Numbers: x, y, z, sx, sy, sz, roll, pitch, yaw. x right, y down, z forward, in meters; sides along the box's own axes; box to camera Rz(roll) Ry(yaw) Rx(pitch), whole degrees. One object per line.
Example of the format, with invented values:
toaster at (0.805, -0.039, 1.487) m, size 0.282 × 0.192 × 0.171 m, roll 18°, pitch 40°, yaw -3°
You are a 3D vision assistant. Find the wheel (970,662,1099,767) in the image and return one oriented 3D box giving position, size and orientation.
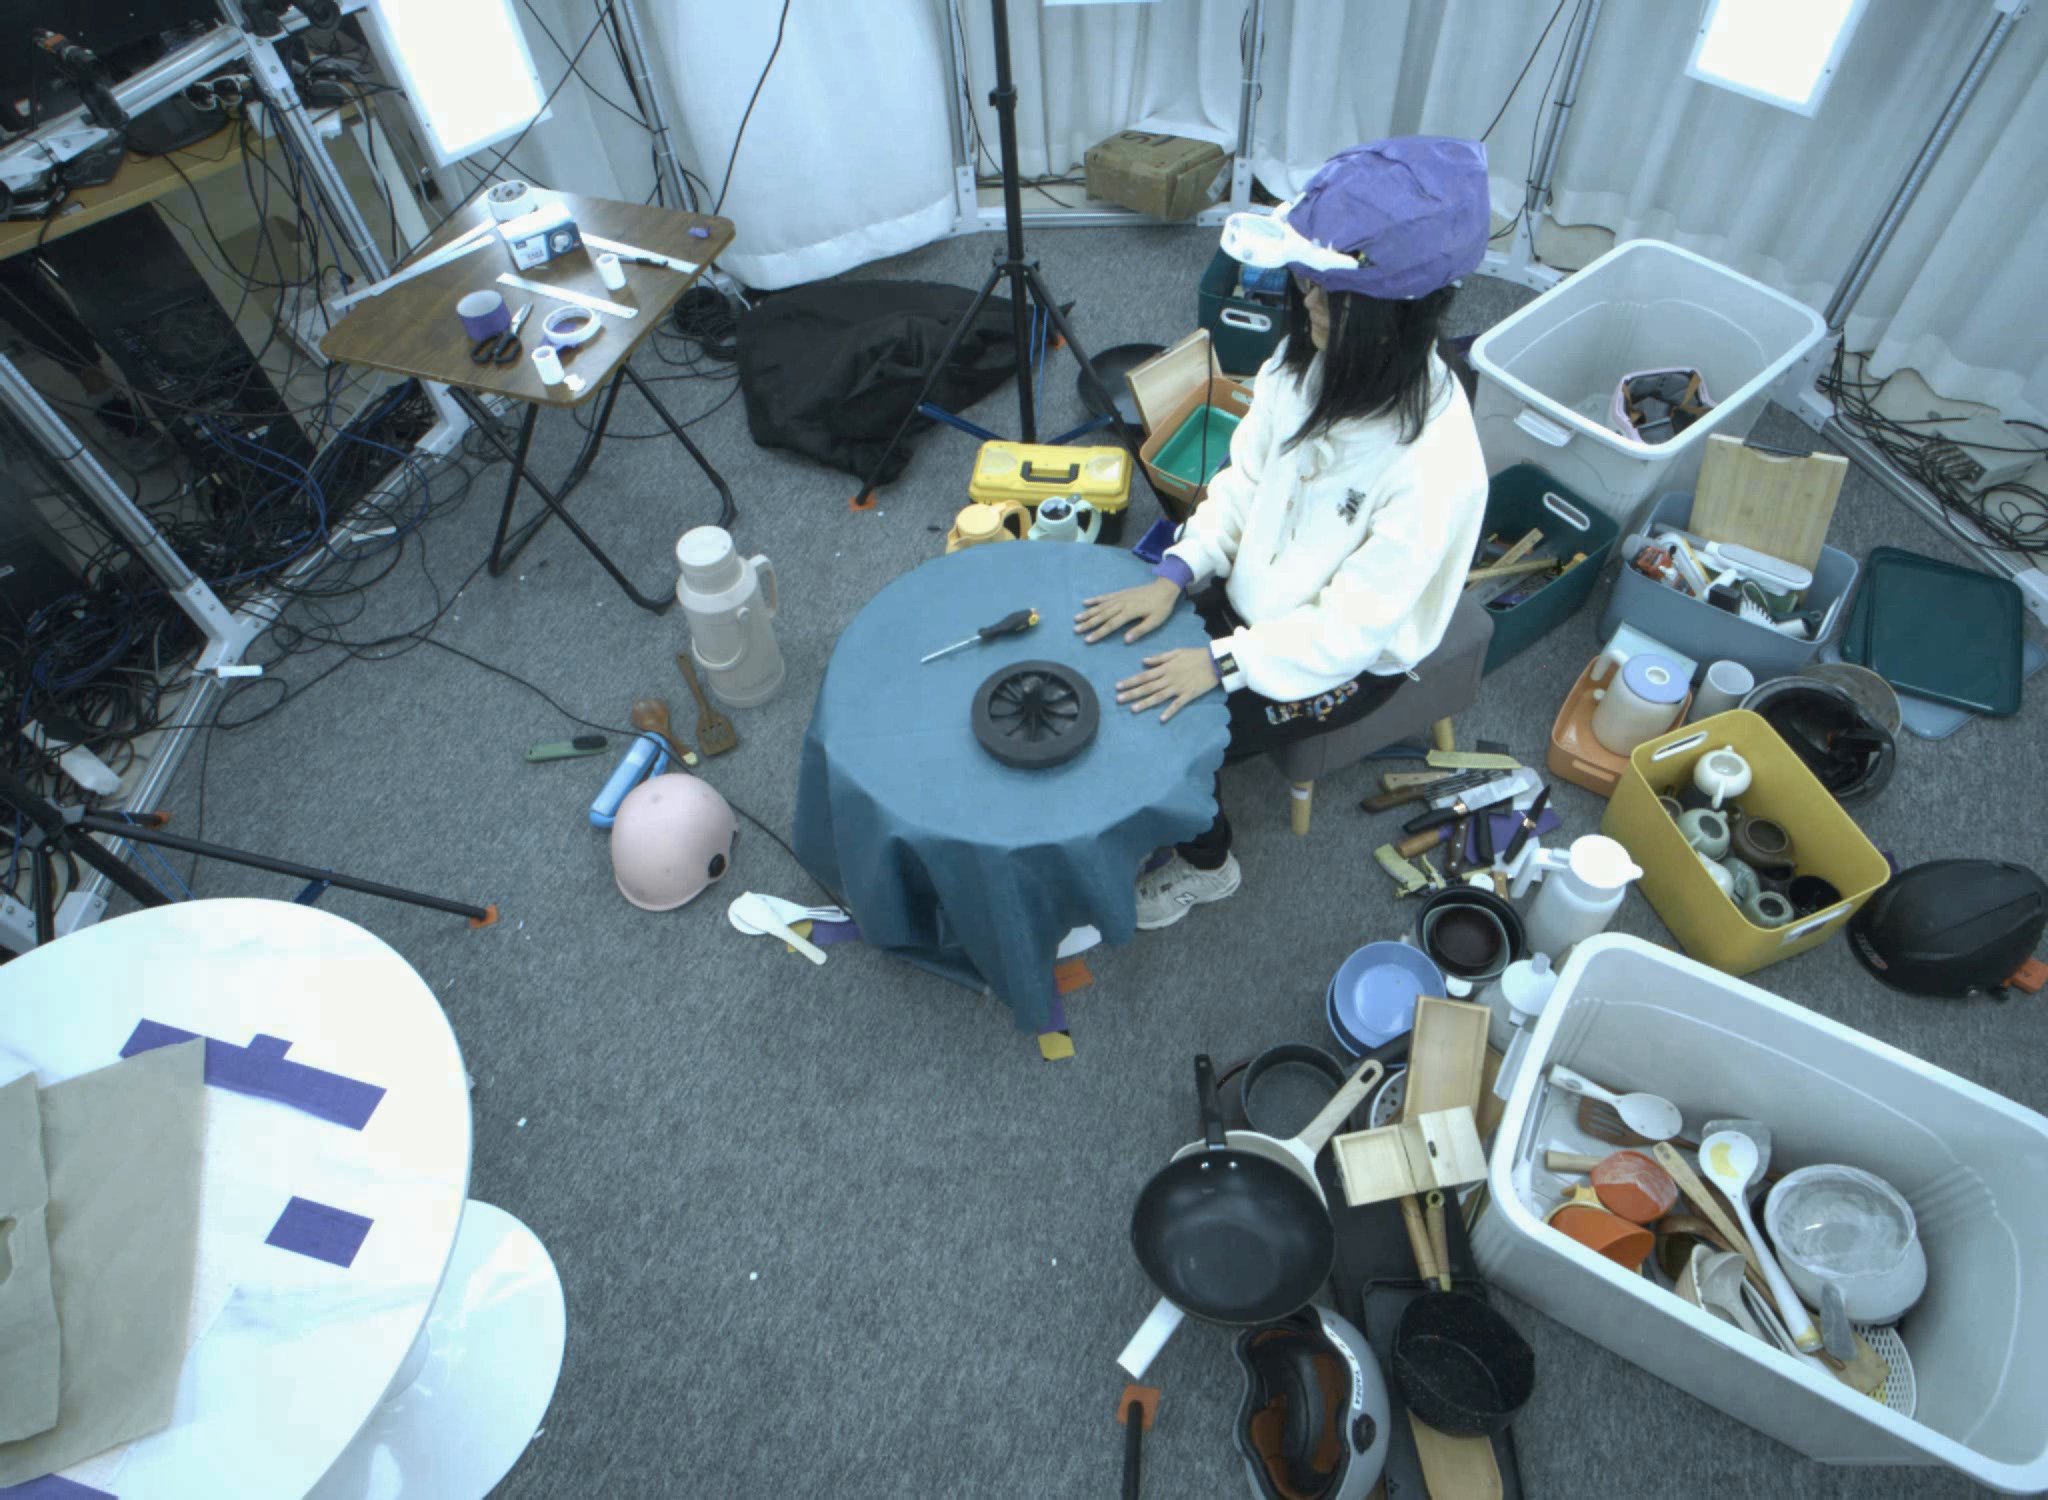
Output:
wheel at (0.013, -0.067, 1.790) m, size 0.187 × 0.080 × 0.188 m, roll 21°, pitch 58°, yaw 18°

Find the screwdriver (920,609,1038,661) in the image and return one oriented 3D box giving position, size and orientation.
screwdriver at (-0.069, -0.172, 1.897) m, size 0.197 × 0.032 × 0.031 m, roll -24°, pitch 57°, yaw -12°
